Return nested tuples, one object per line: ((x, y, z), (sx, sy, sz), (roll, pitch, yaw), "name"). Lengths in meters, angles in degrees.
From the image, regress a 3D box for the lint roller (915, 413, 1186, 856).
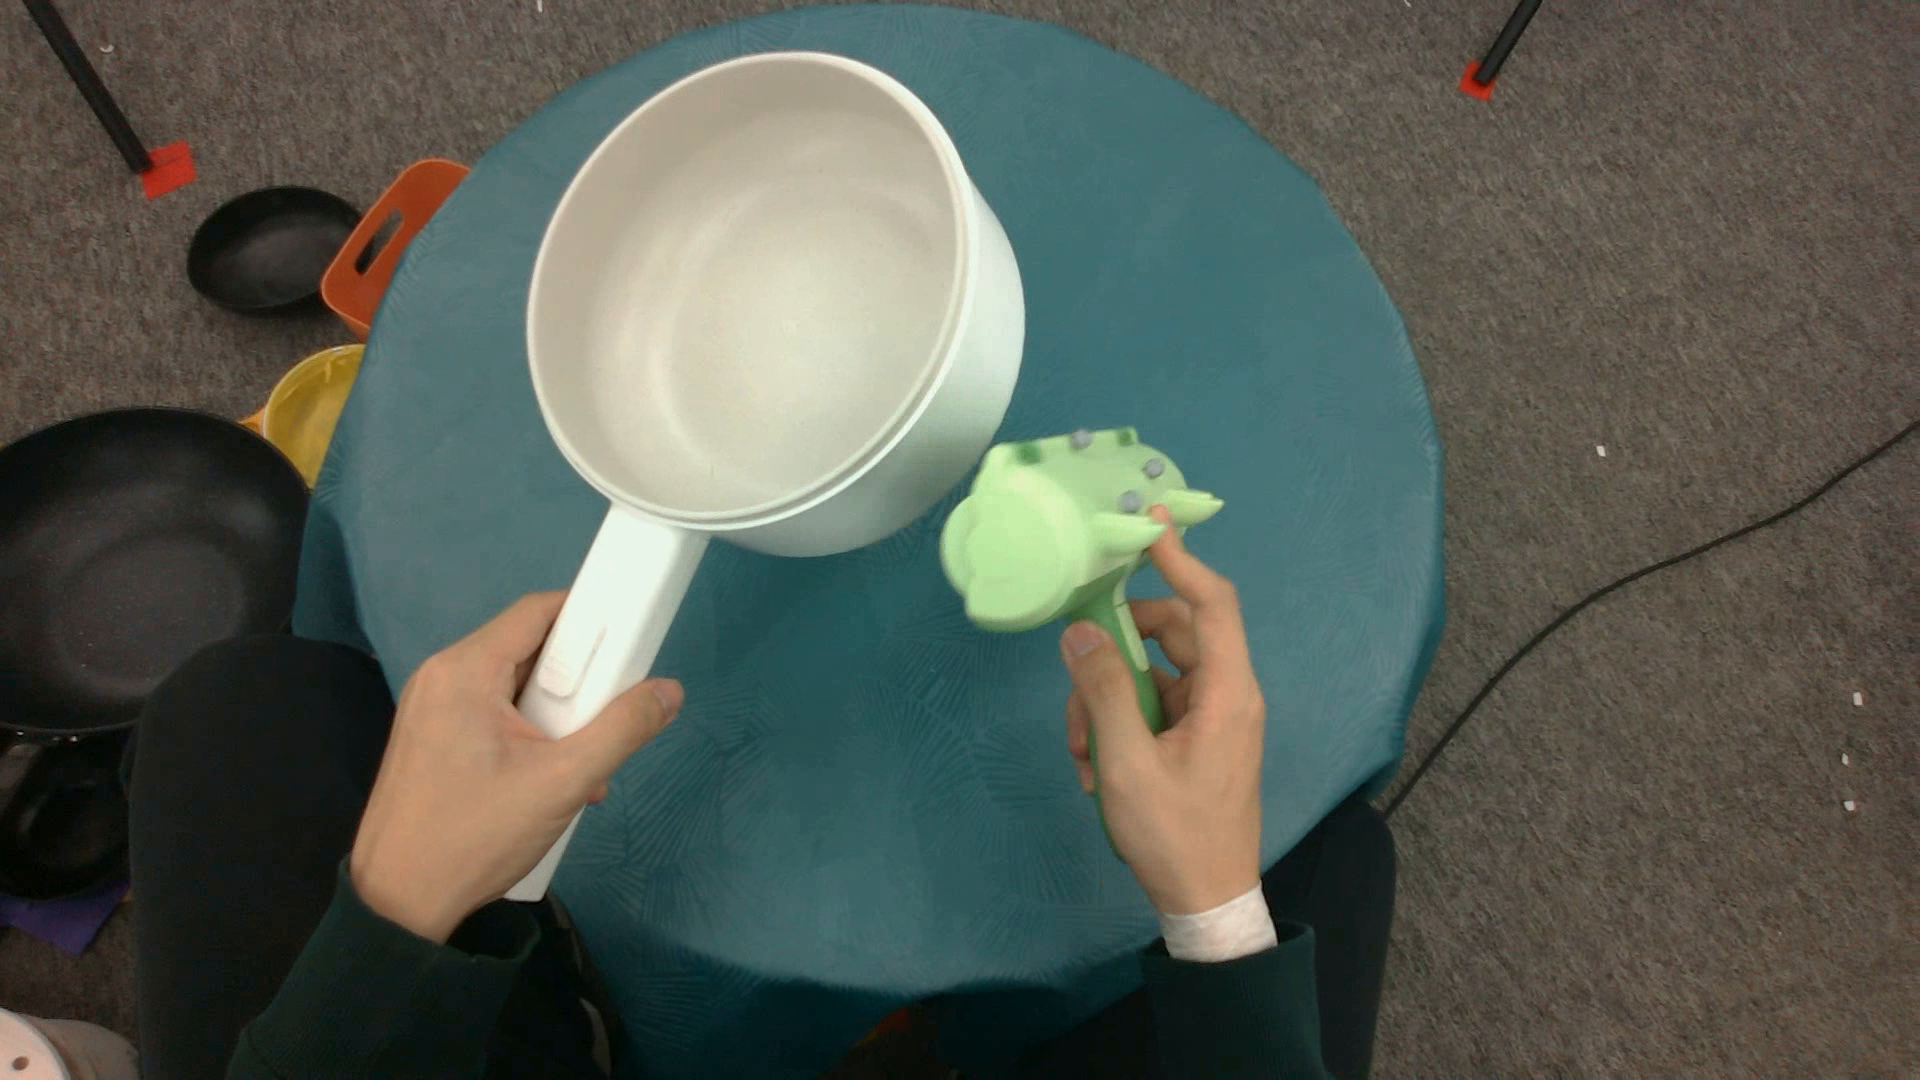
((0.062, 0.036, 0.568), (0.082, 0.199, 0.183), (-22, 89, 20), "lint roller")

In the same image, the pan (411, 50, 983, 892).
((-0.119, -0.024, 0.586), (0.201, 0.102, 0.355), (20, 86, 21), "pan")
